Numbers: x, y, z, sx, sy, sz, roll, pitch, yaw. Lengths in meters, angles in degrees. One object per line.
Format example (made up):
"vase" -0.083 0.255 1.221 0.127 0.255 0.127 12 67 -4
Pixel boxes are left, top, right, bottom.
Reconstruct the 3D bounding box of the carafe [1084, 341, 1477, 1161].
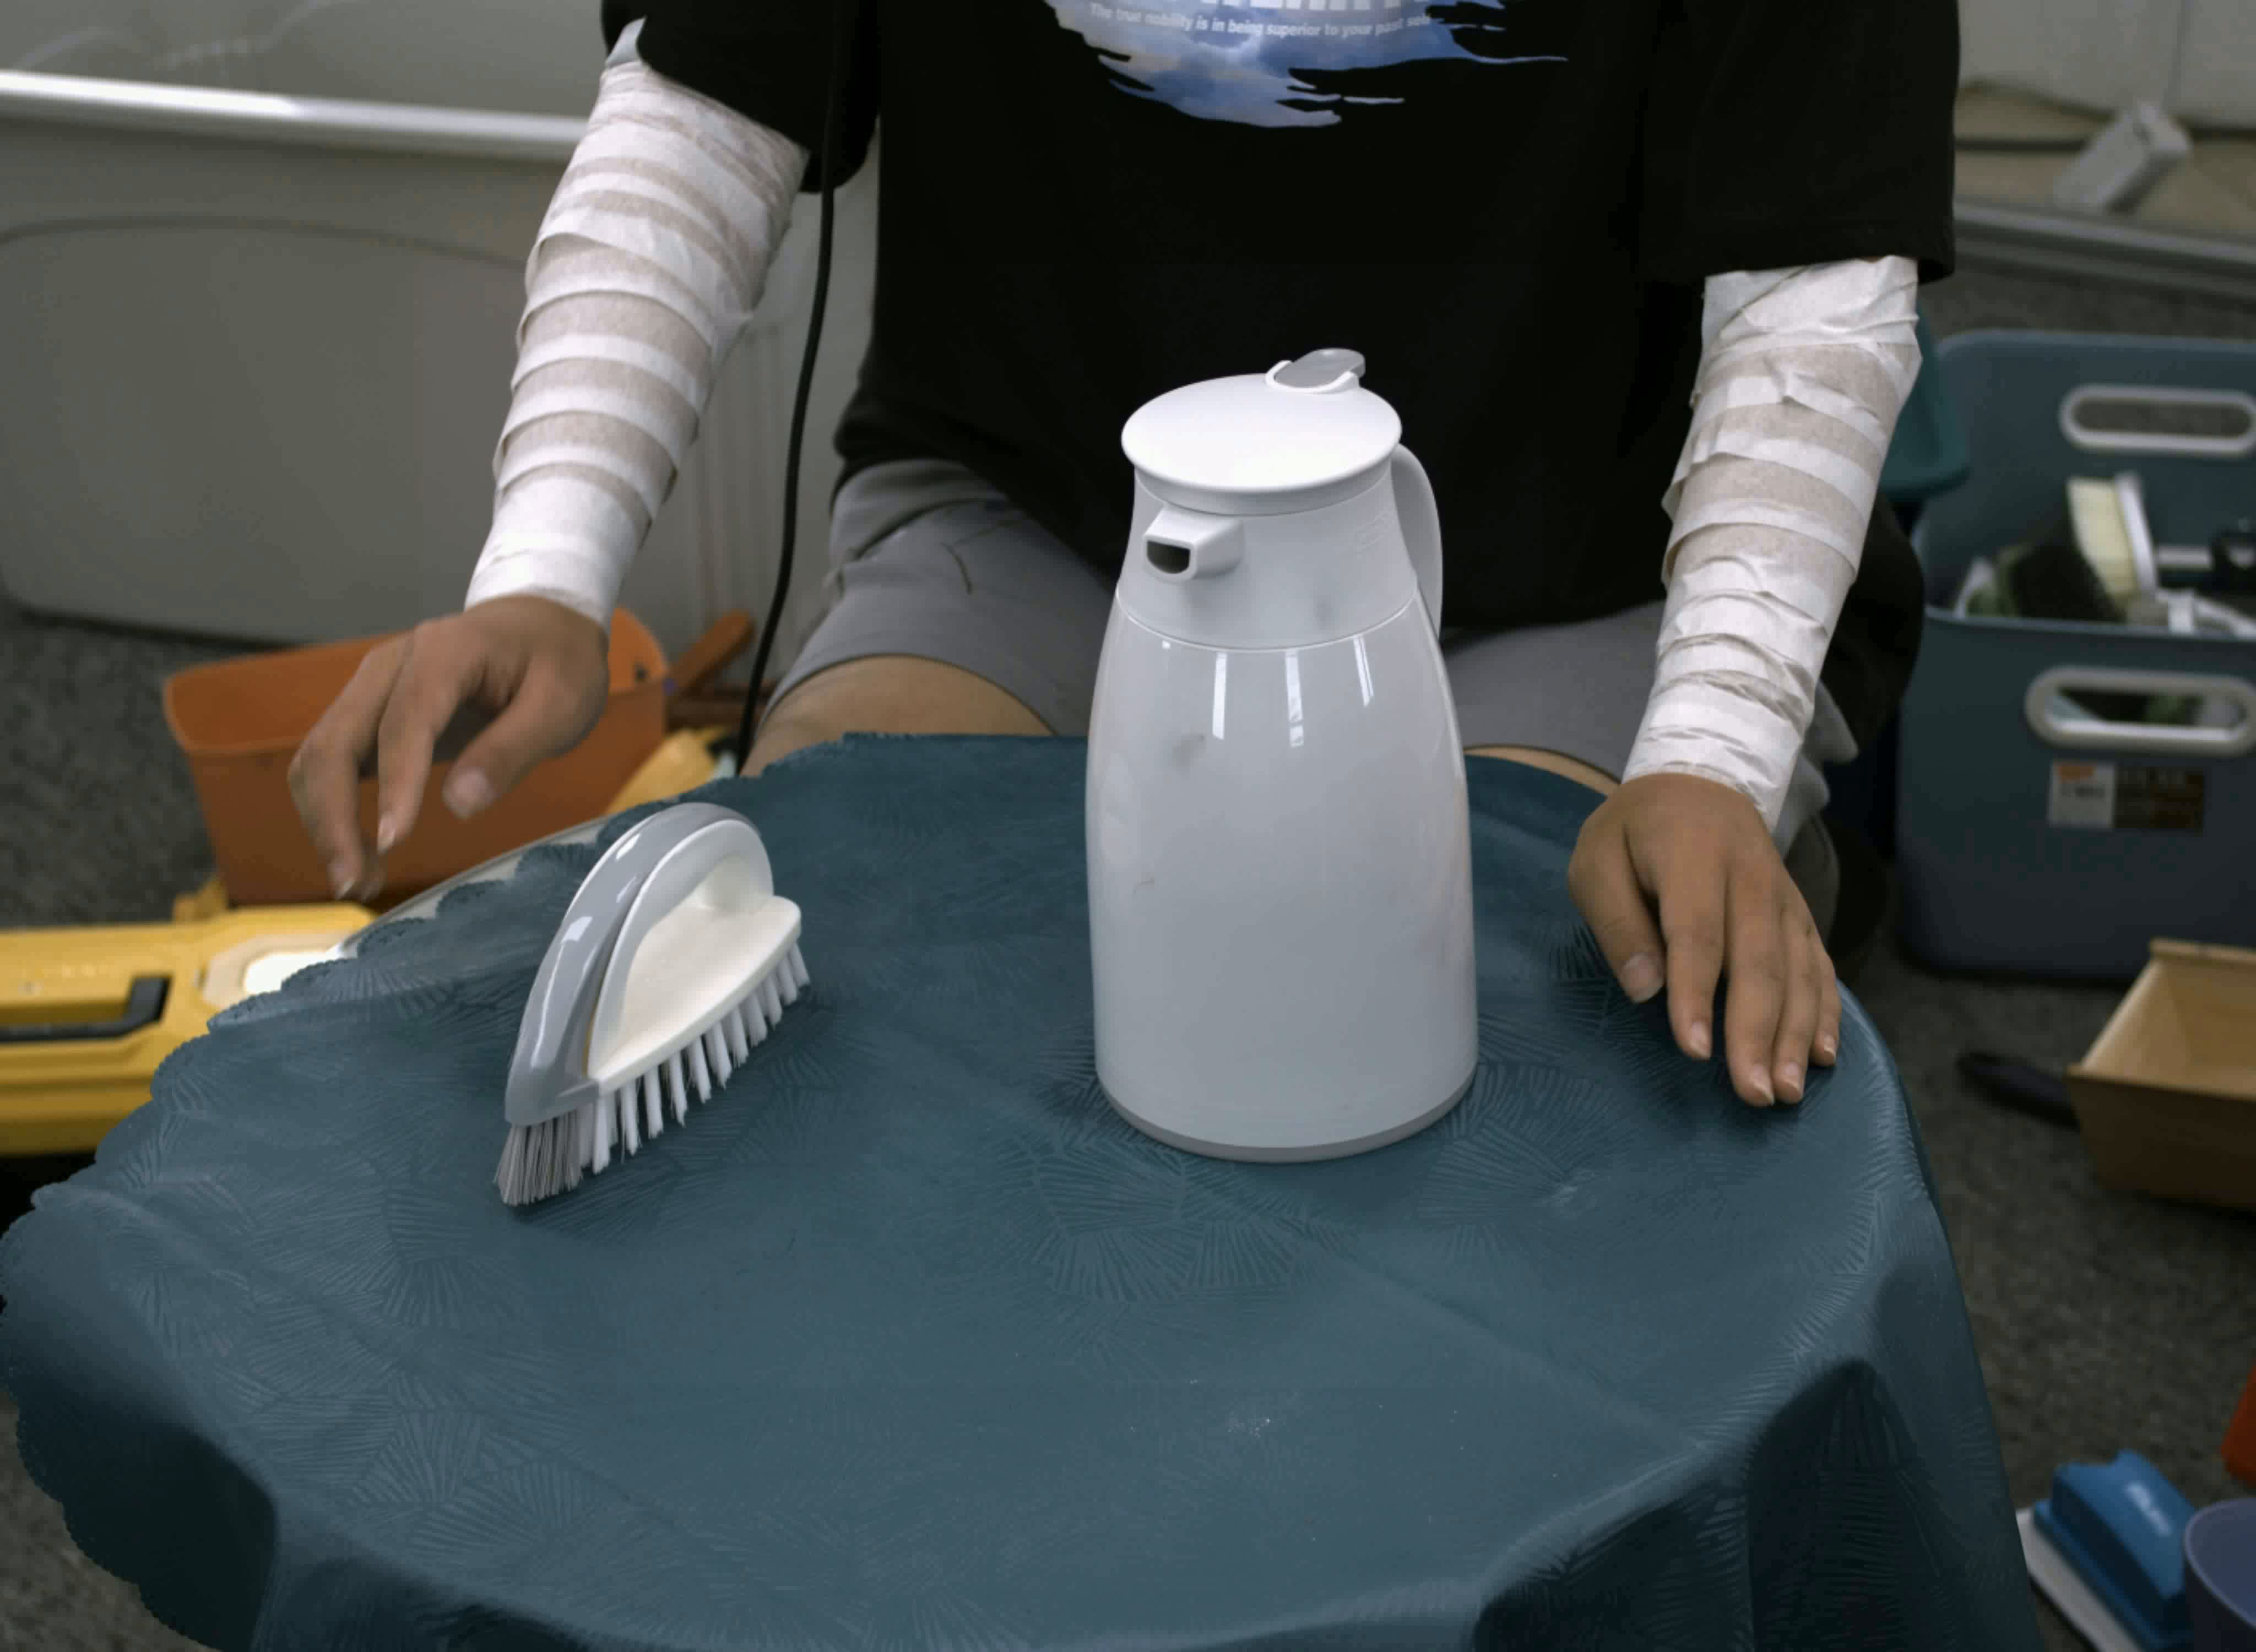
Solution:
"carafe" 0.057 -0.036 1.894 0.132 0.246 0.170 11 29 27

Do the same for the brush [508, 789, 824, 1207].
"brush" -0.167 0.051 1.916 0.061 0.093 0.178 6 30 24
